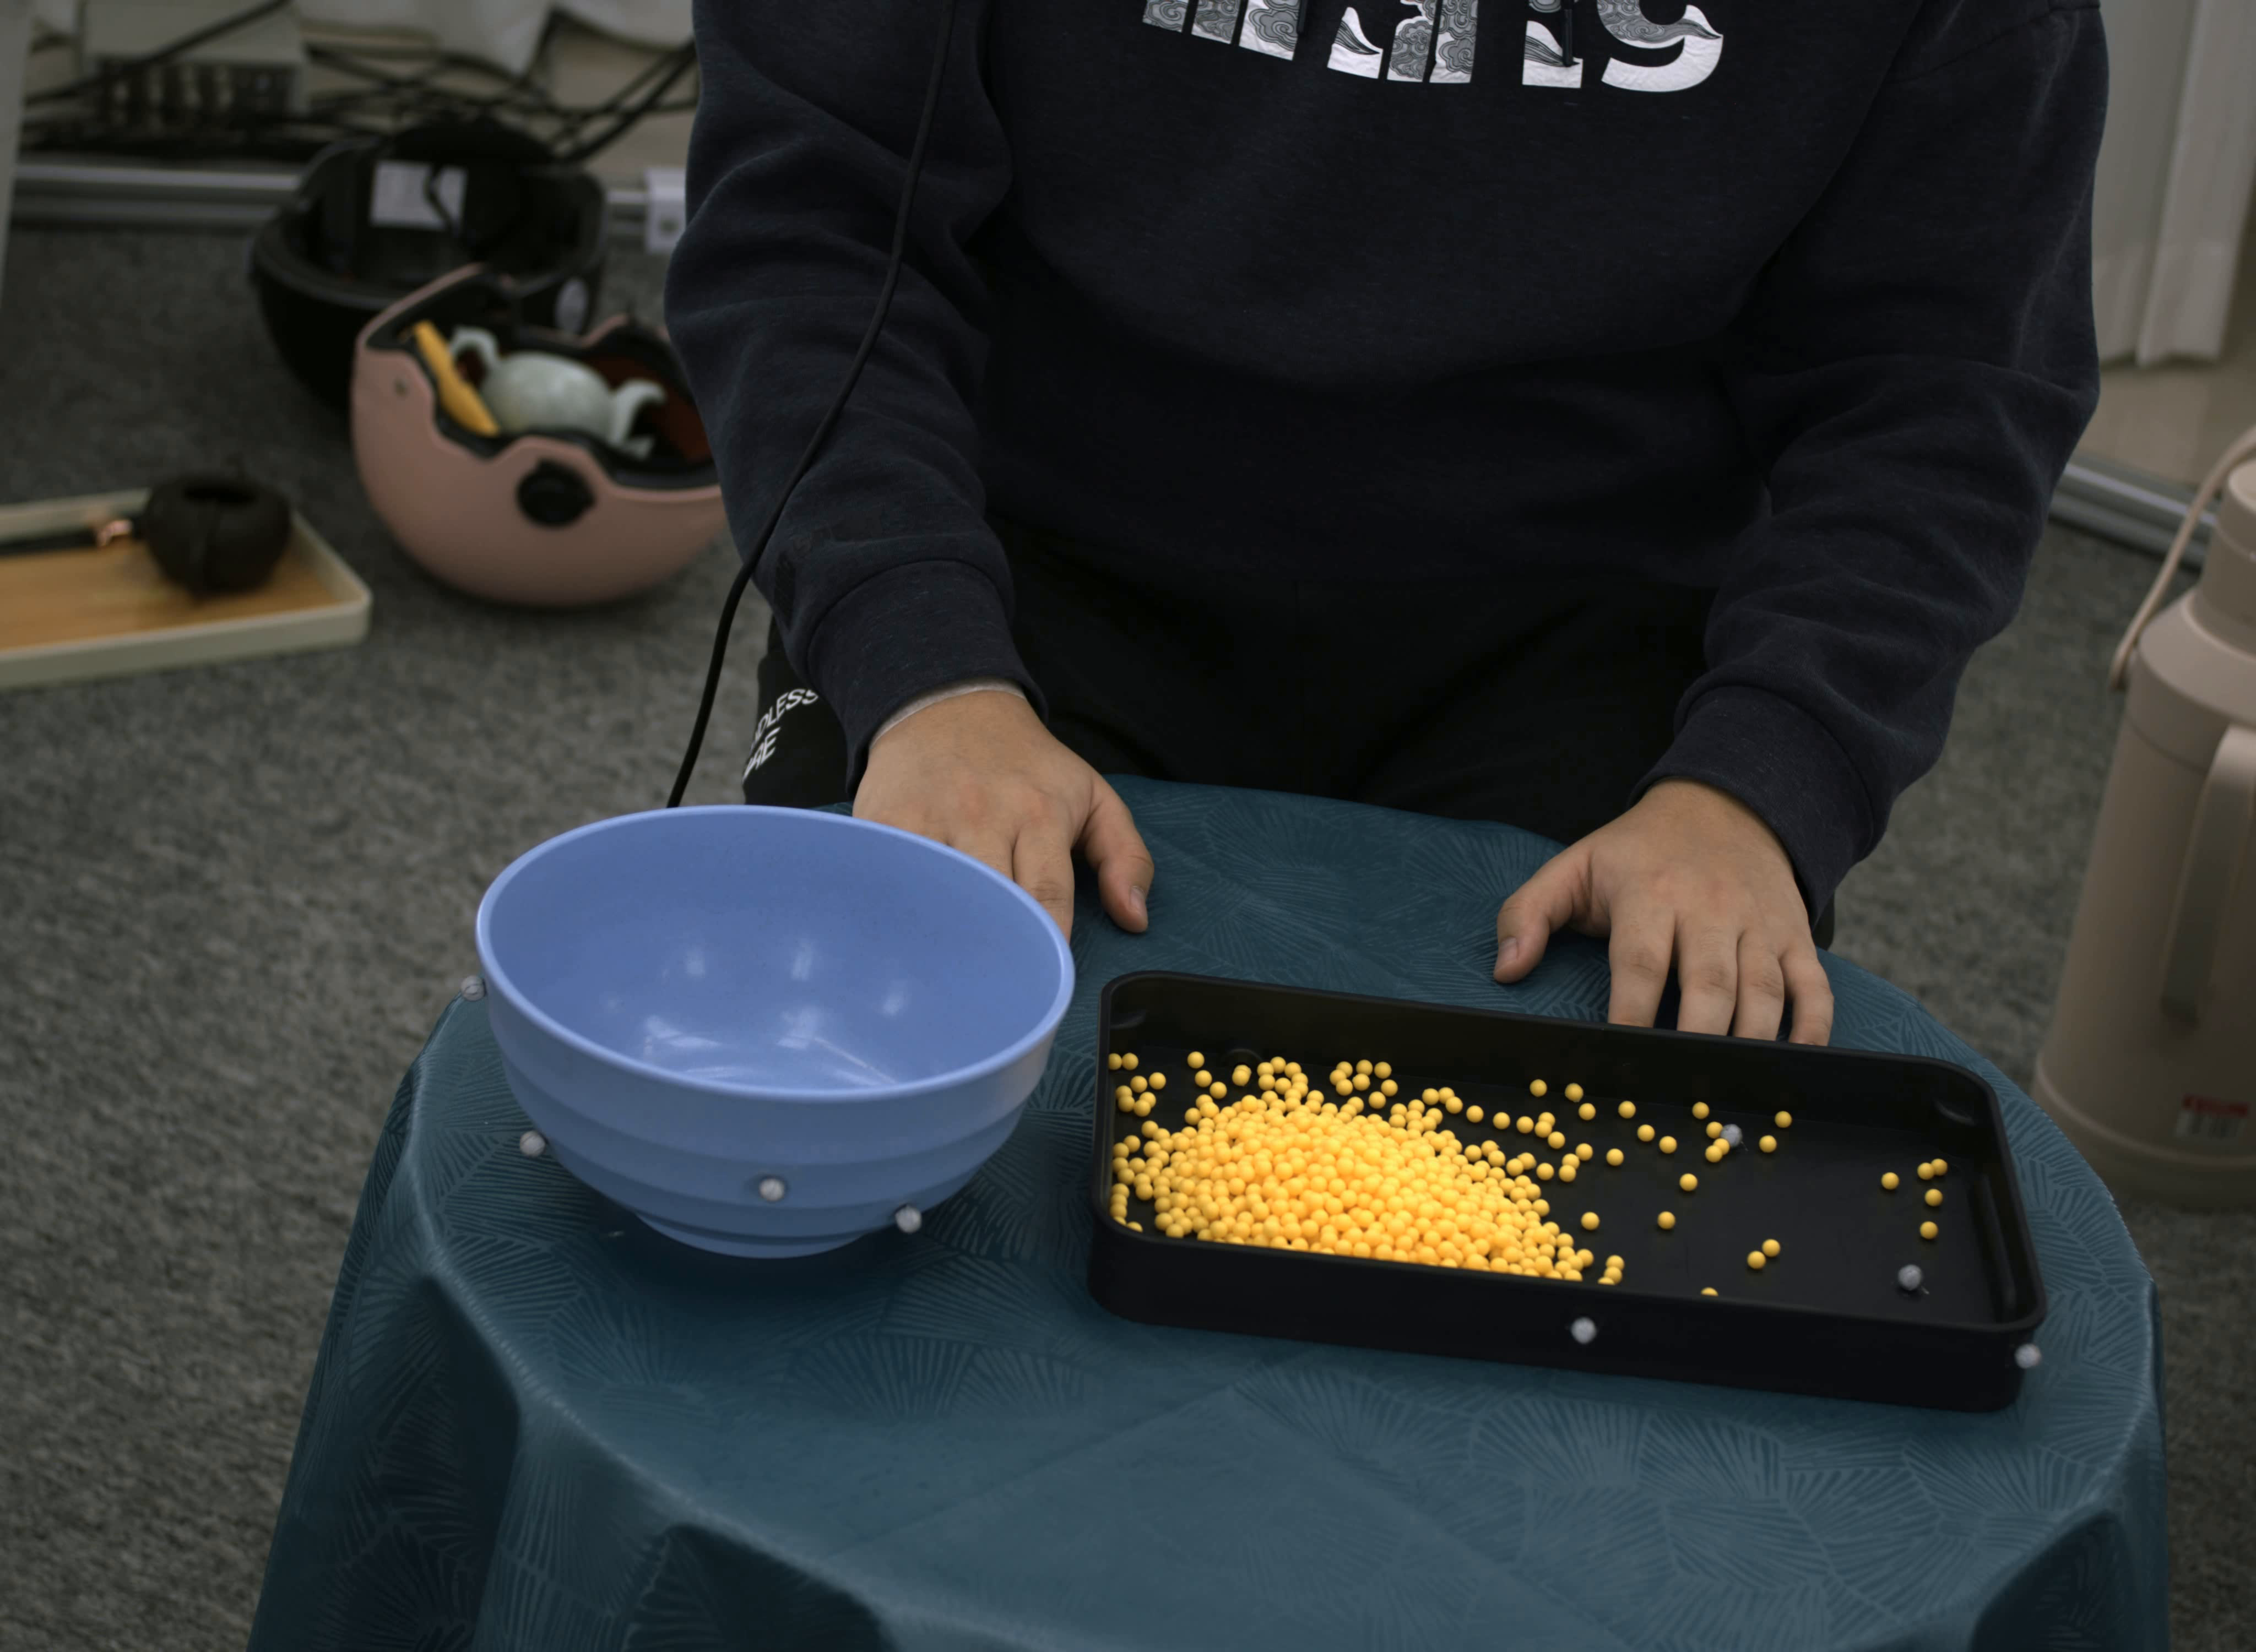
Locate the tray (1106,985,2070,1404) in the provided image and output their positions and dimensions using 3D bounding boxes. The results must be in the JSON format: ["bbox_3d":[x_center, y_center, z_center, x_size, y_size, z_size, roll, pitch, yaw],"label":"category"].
[{"bbox_3d":[0.149,0.123,1.806,0.317,0.037,0.185,5,26,-2],"label":"tray"}]

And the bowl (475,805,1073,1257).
[{"bbox_3d":[-0.119,0.078,1.761,0.196,0.095,0.198,4,27,-3],"label":"bowl"}]
